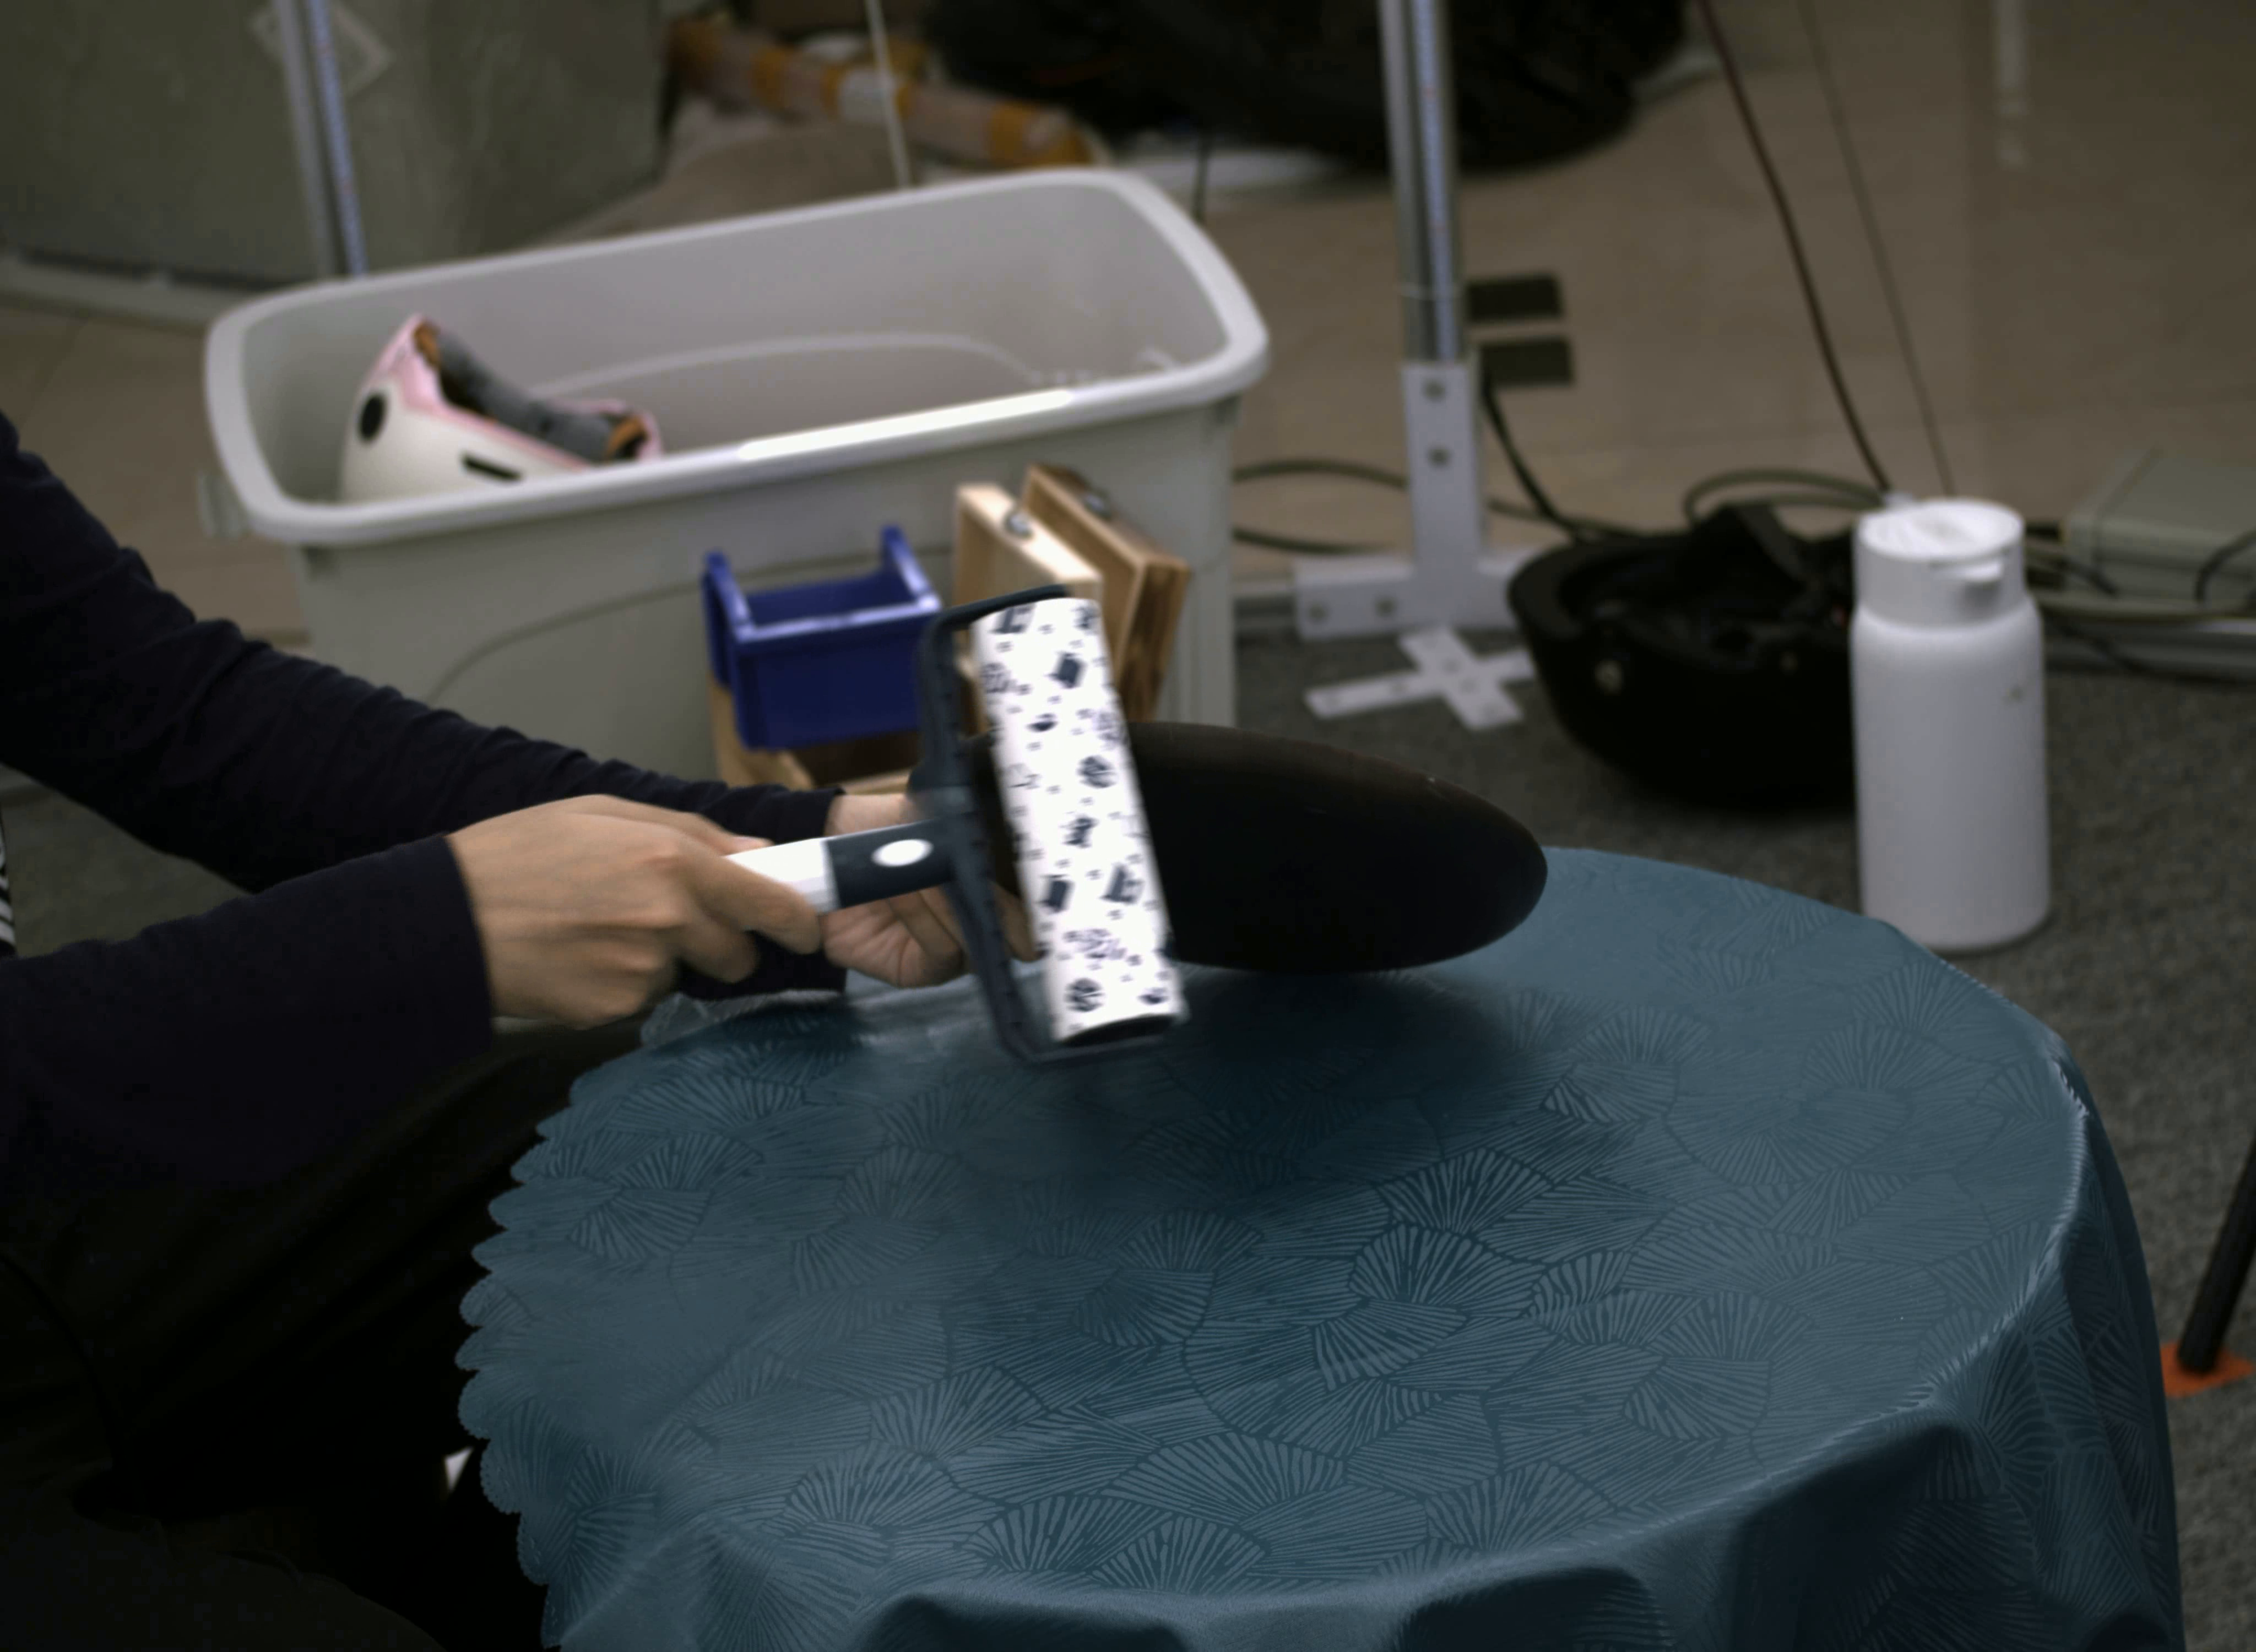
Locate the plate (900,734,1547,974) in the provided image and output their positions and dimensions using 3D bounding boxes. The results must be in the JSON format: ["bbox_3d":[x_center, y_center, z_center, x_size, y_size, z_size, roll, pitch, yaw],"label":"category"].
[{"bbox_3d":[0.036,0.013,2.203,0.254,0.257,0.029,5,72,2],"label":"plate"}]

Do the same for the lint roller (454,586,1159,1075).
[{"bbox_3d":[-0.124,0.022,2.063,0.246,0.175,0.050,-12,-9,-4],"label":"lint roller"}]
